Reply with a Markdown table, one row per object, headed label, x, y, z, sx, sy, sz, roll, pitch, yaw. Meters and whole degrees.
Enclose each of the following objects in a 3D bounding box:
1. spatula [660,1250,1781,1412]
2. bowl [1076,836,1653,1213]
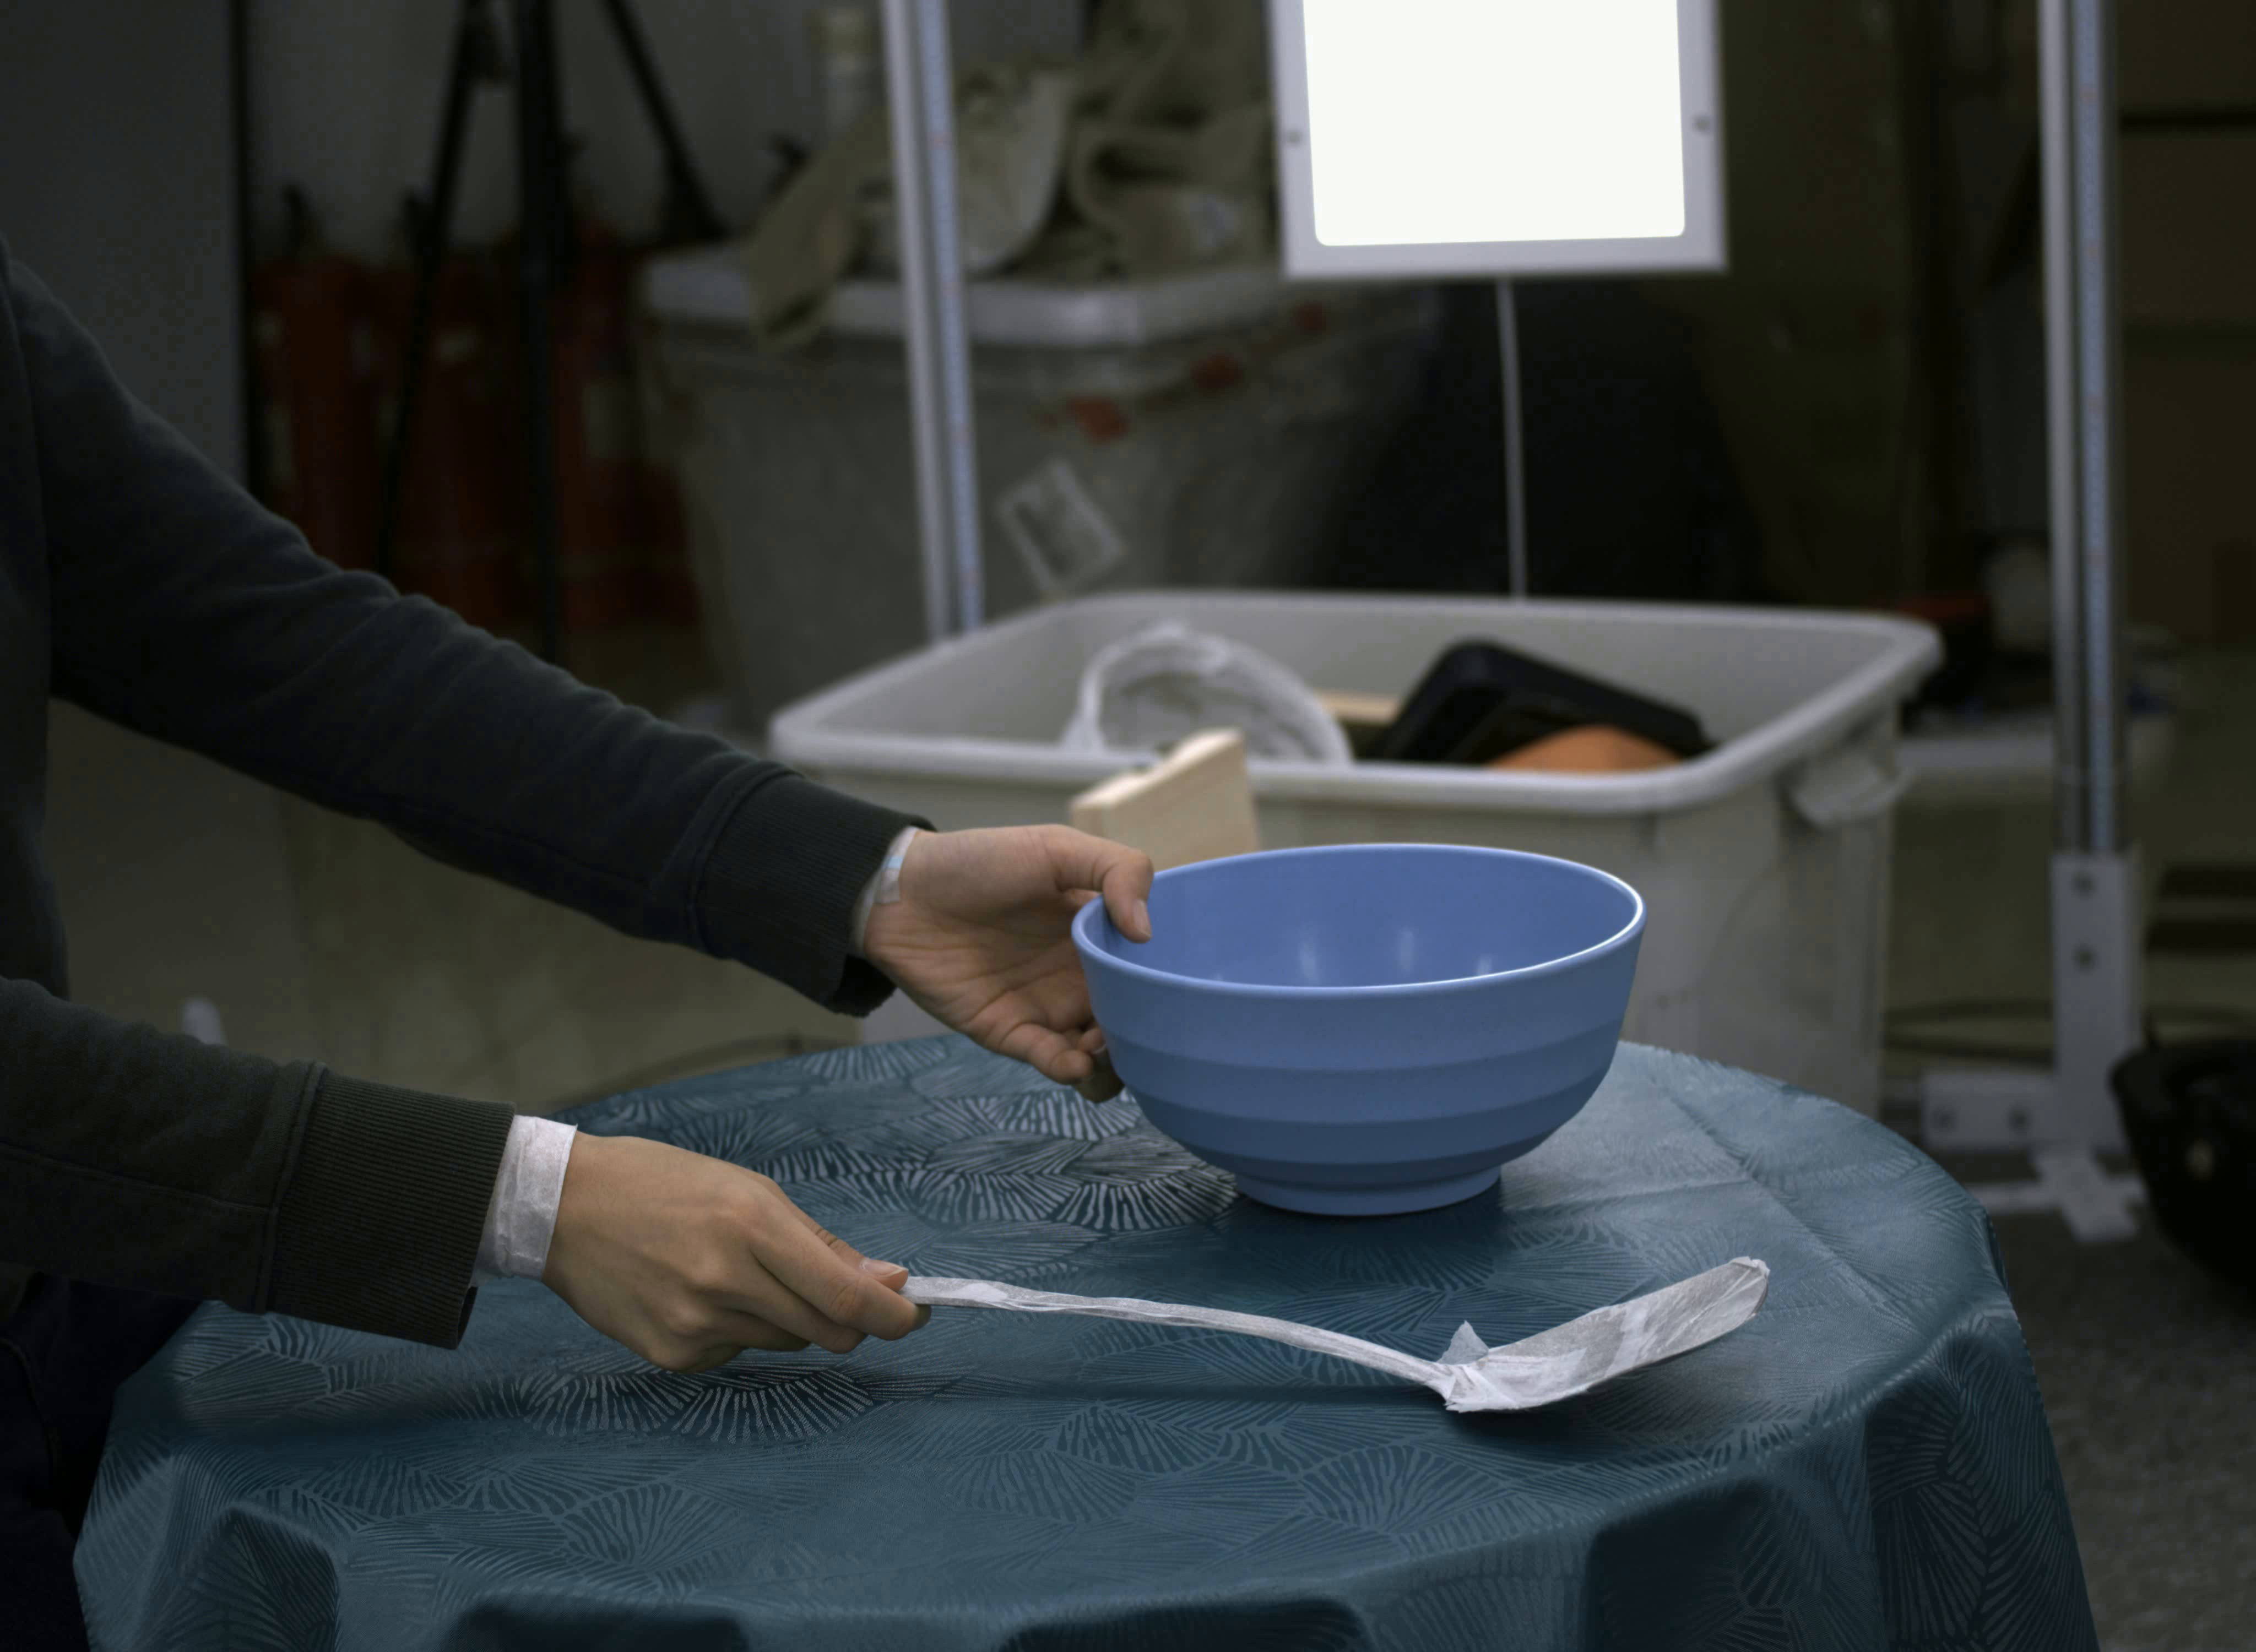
| label | x | y | z | sx | sy | sz | roll | pitch | yaw |
| --- | --- | --- | --- | --- | --- | --- | --- | --- | --- |
| spatula | 0.019 | 0.146 | 1.699 | 0.369 | 0.045 | 0.097 | 5 | 15 | 19 |
| bowl | 0.081 | 0.073 | 1.877 | 0.196 | 0.096 | 0.196 | -1 | 14 | -1 |
